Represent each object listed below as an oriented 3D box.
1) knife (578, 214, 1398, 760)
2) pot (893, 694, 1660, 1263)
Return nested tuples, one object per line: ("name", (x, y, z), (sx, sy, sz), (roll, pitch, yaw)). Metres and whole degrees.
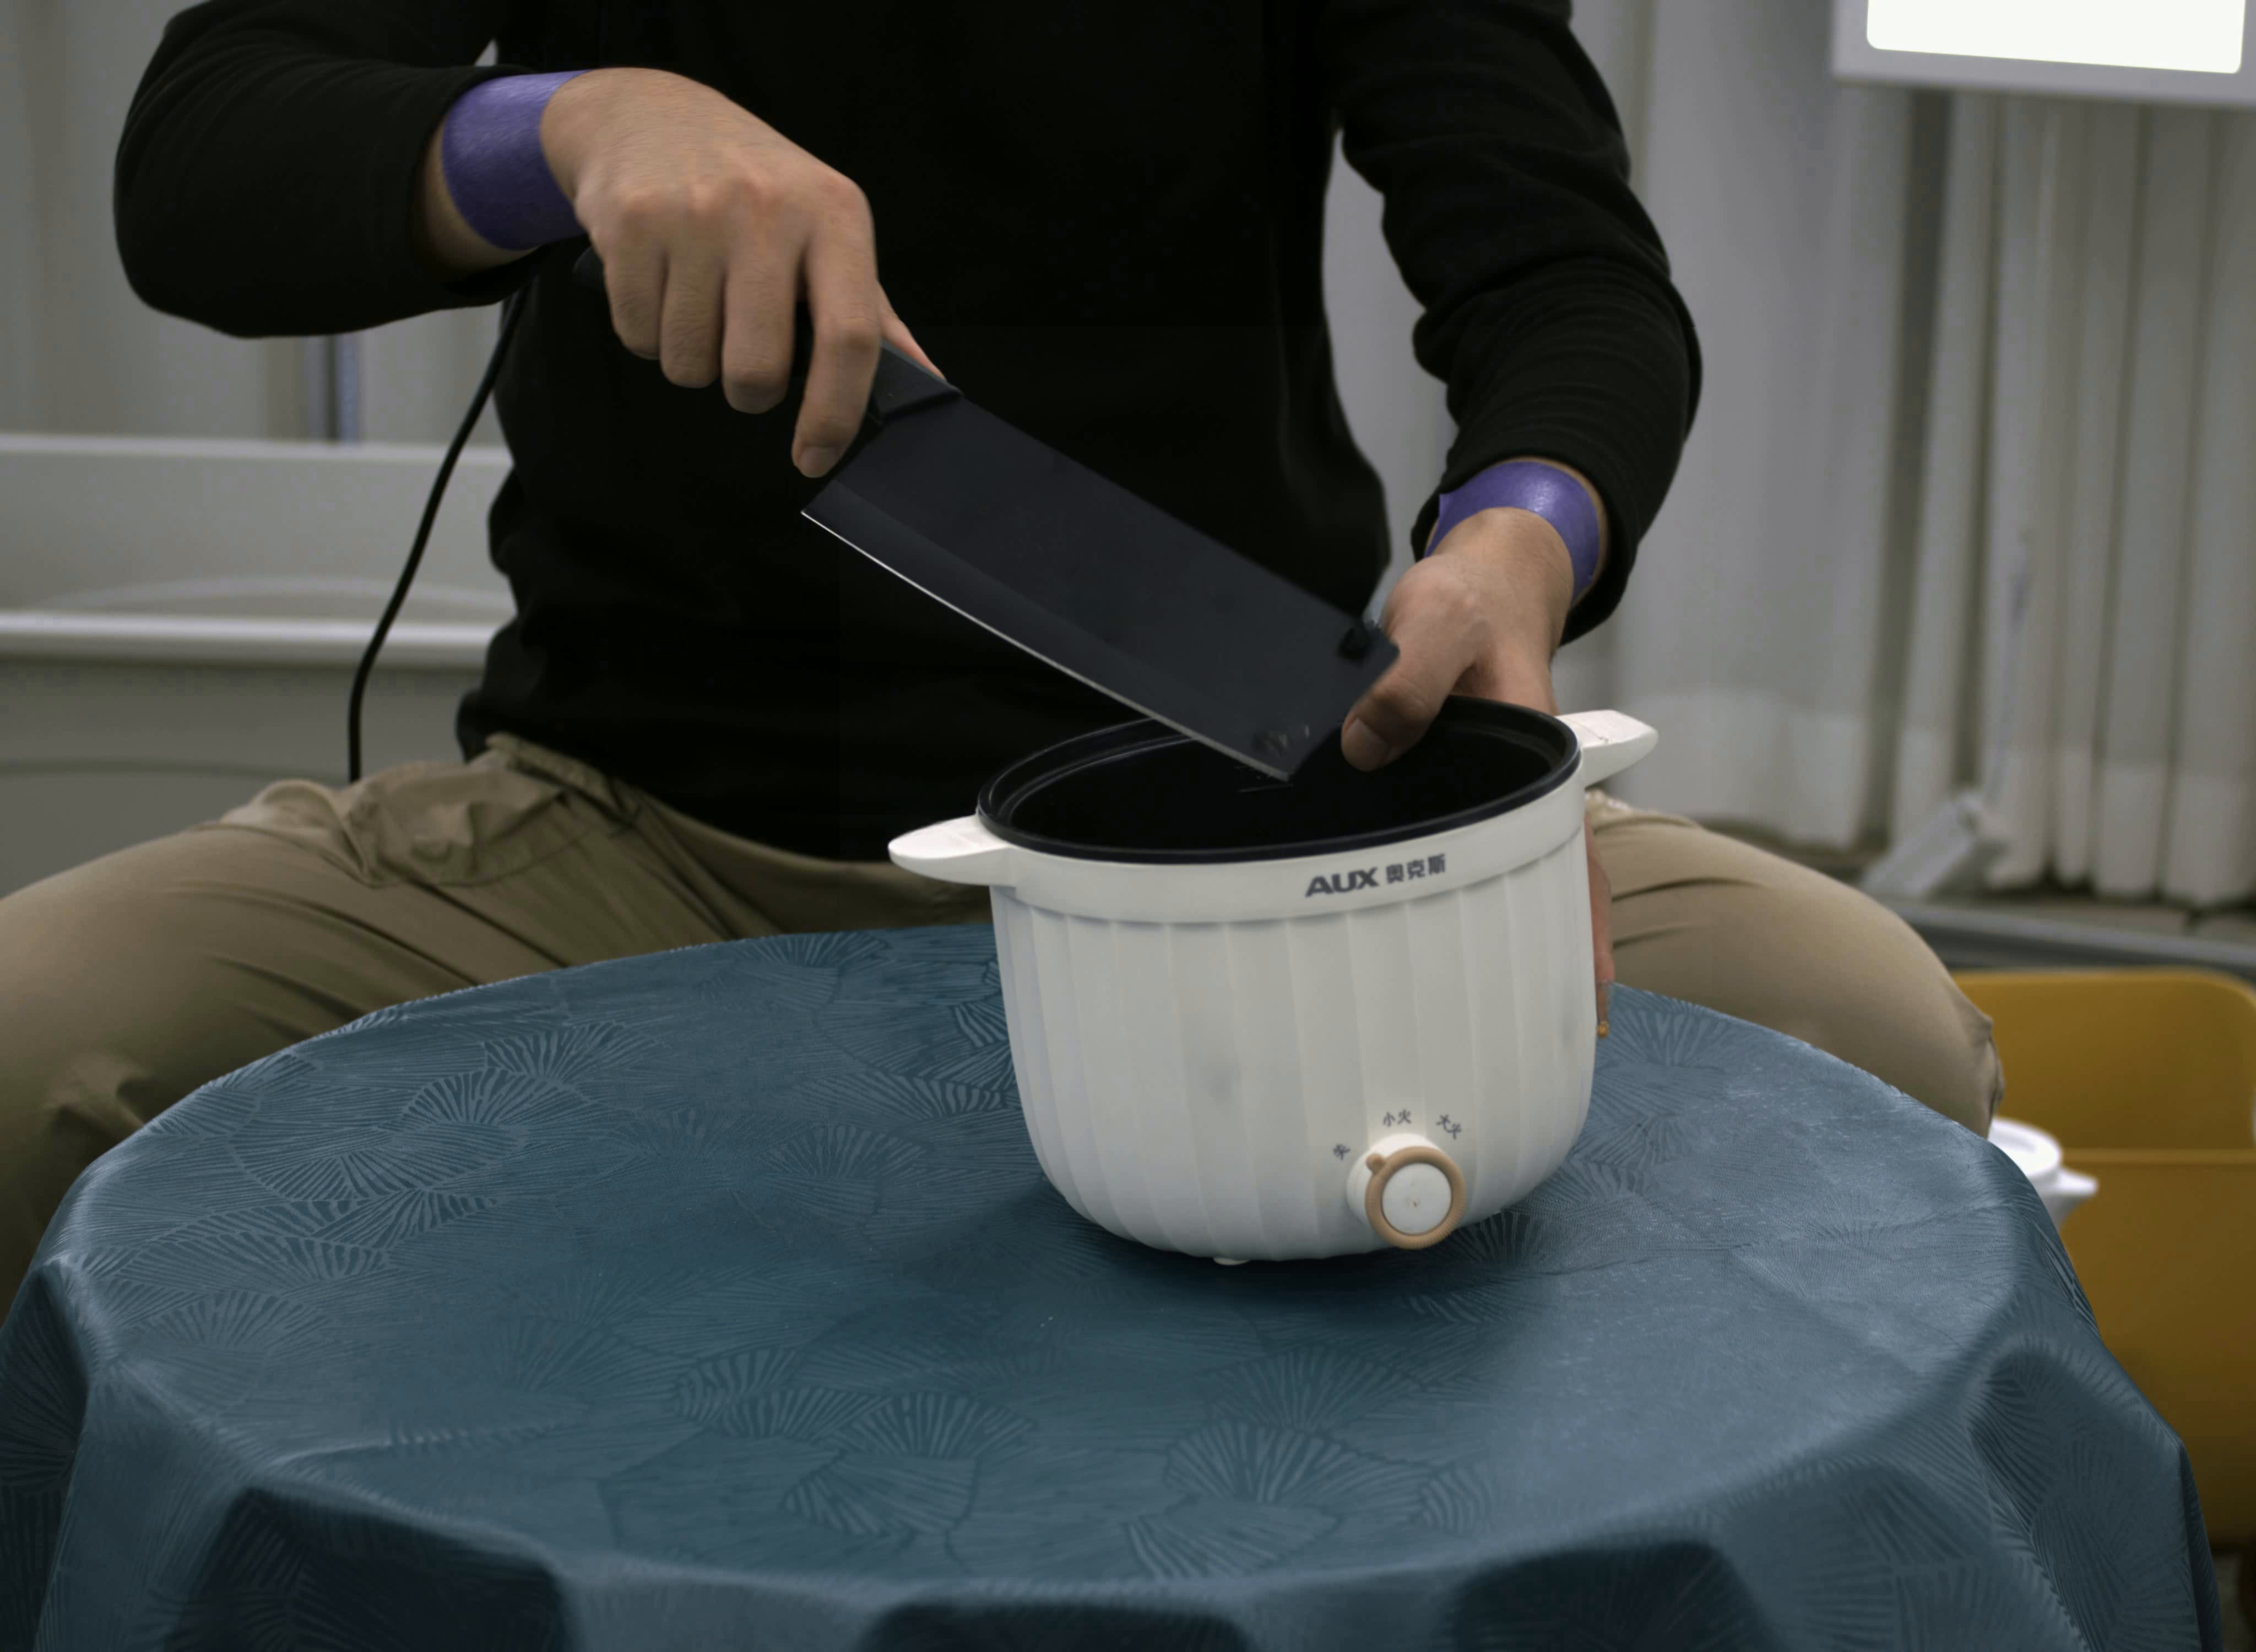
("knife", (-0.053, -0.108, 1.601), (0.299, 0.021, 0.081), (35, 62, 24))
("pot", (0.055, 0.047, 1.578), (0.240, 0.144, 0.189), (-11, 13, -15))
